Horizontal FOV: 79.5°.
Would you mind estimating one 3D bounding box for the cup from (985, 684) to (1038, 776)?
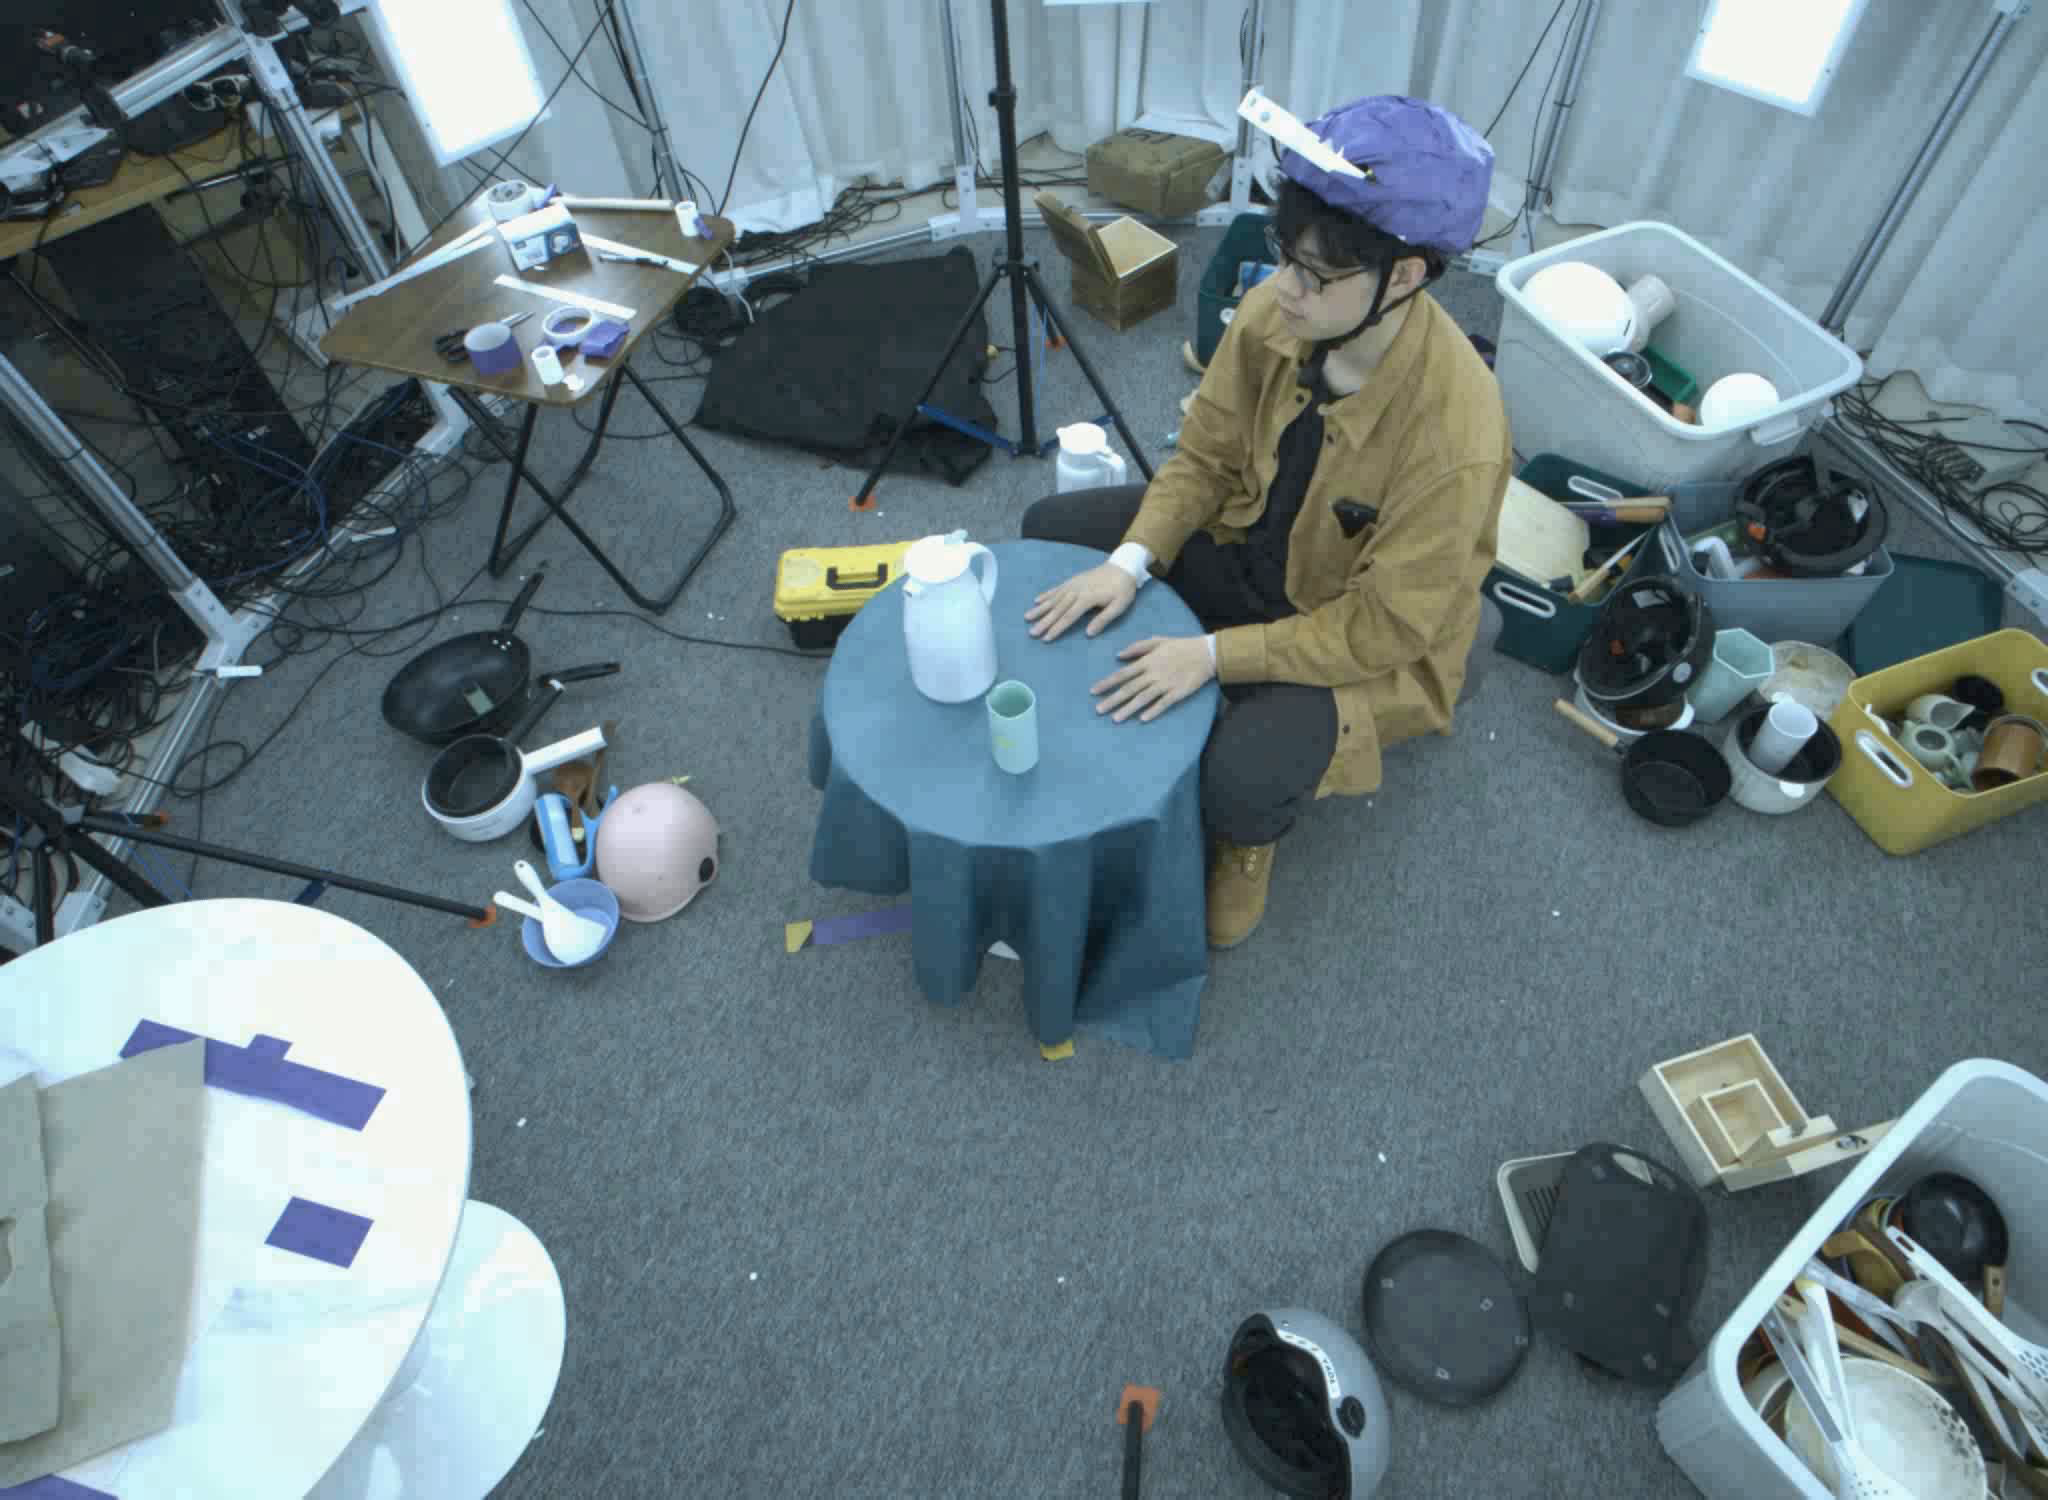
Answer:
[{"bbox_3d":[-0.015,-0.028,1.727,0.066,0.134,0.066,-1,55,3],"label":"cup"}]

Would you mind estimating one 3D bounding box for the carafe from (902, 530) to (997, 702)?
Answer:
[{"bbox_3d":[-0.103,-0.208,1.782,0.130,0.251,0.168,32,61,24],"label":"carafe"}]
